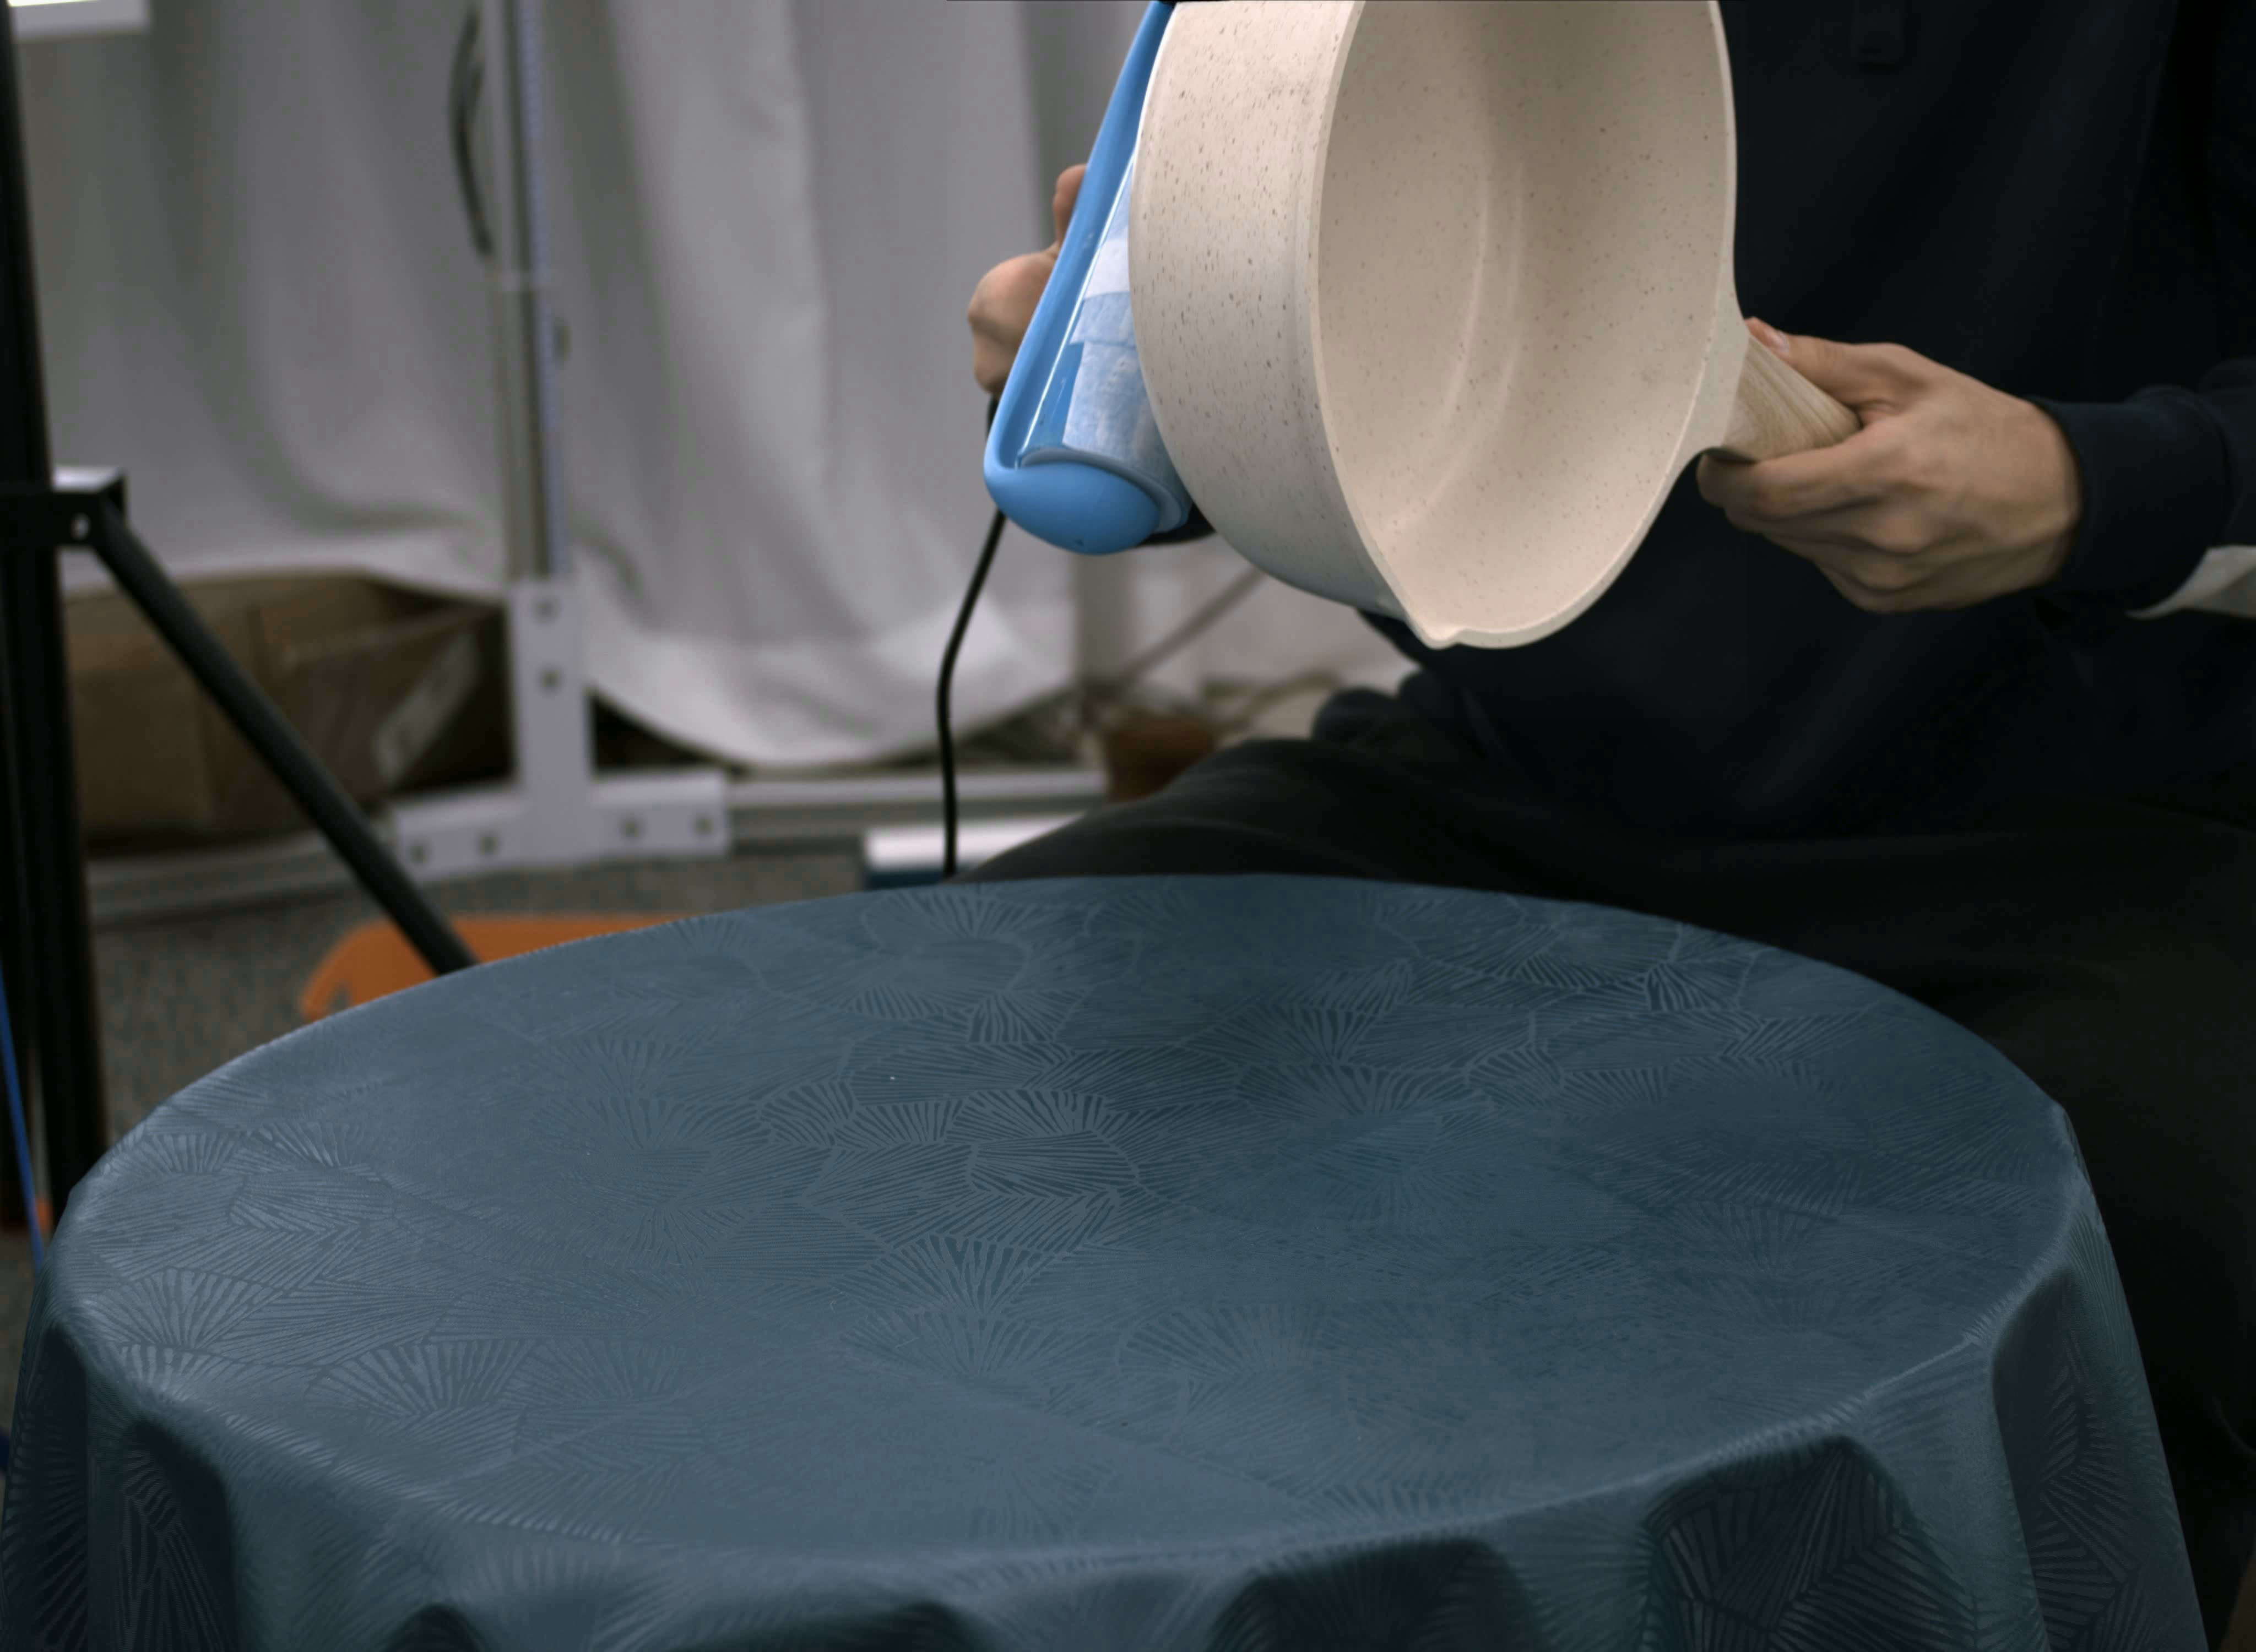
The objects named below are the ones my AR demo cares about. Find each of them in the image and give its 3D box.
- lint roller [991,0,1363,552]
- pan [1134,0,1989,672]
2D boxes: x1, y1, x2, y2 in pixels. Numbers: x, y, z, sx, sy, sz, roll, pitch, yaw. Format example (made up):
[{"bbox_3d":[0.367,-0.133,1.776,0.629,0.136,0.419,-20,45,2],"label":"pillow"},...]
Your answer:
[{"bbox_3d":[0.006,-0.168,1.680,0.067,0.230,0.181,20,-23,-8],"label":"lint roller"},{"bbox_3d":[0.141,-0.152,1.661,0.104,0.265,0.424,5,-12,34],"label":"pan"}]
